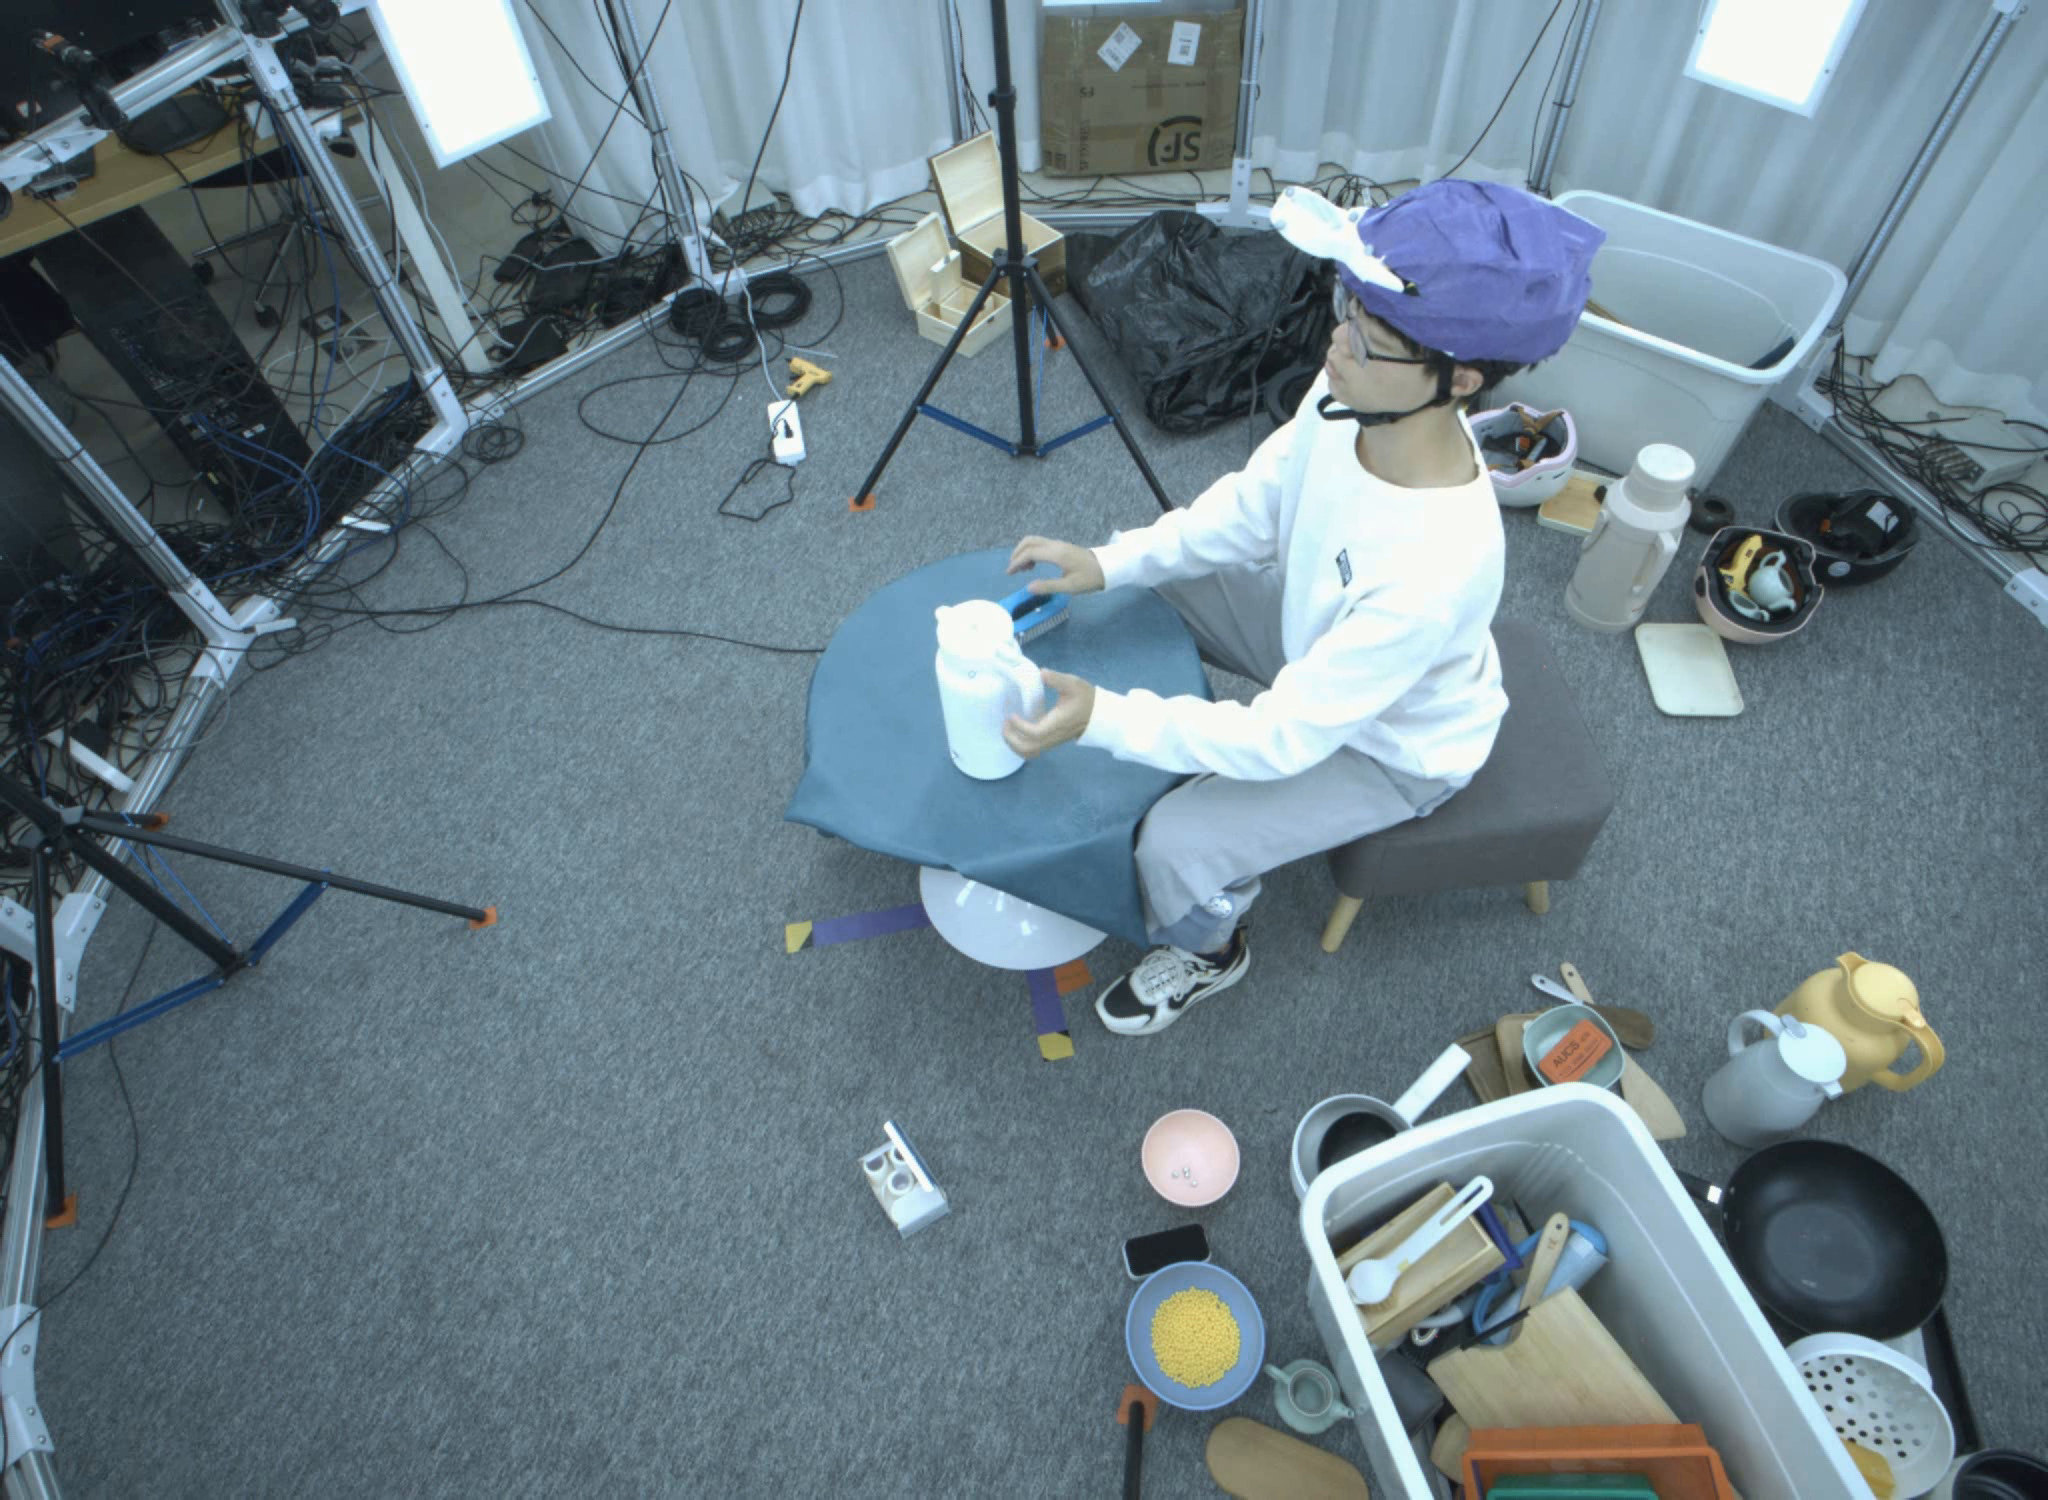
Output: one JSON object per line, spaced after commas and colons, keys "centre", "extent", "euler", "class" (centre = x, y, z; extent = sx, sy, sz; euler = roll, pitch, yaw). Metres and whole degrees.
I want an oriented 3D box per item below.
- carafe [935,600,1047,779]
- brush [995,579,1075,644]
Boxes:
{"centre": [-0.042, -0.071, 1.672], "extent": [0.170, 0.271, 0.124], "euler": [33, 61, 24], "class": "carafe"}
{"centre": [0.009, -0.226, 1.905], "extent": [0.143, 0.064, 0.082], "euler": [-29, 53, -18], "class": "brush"}
